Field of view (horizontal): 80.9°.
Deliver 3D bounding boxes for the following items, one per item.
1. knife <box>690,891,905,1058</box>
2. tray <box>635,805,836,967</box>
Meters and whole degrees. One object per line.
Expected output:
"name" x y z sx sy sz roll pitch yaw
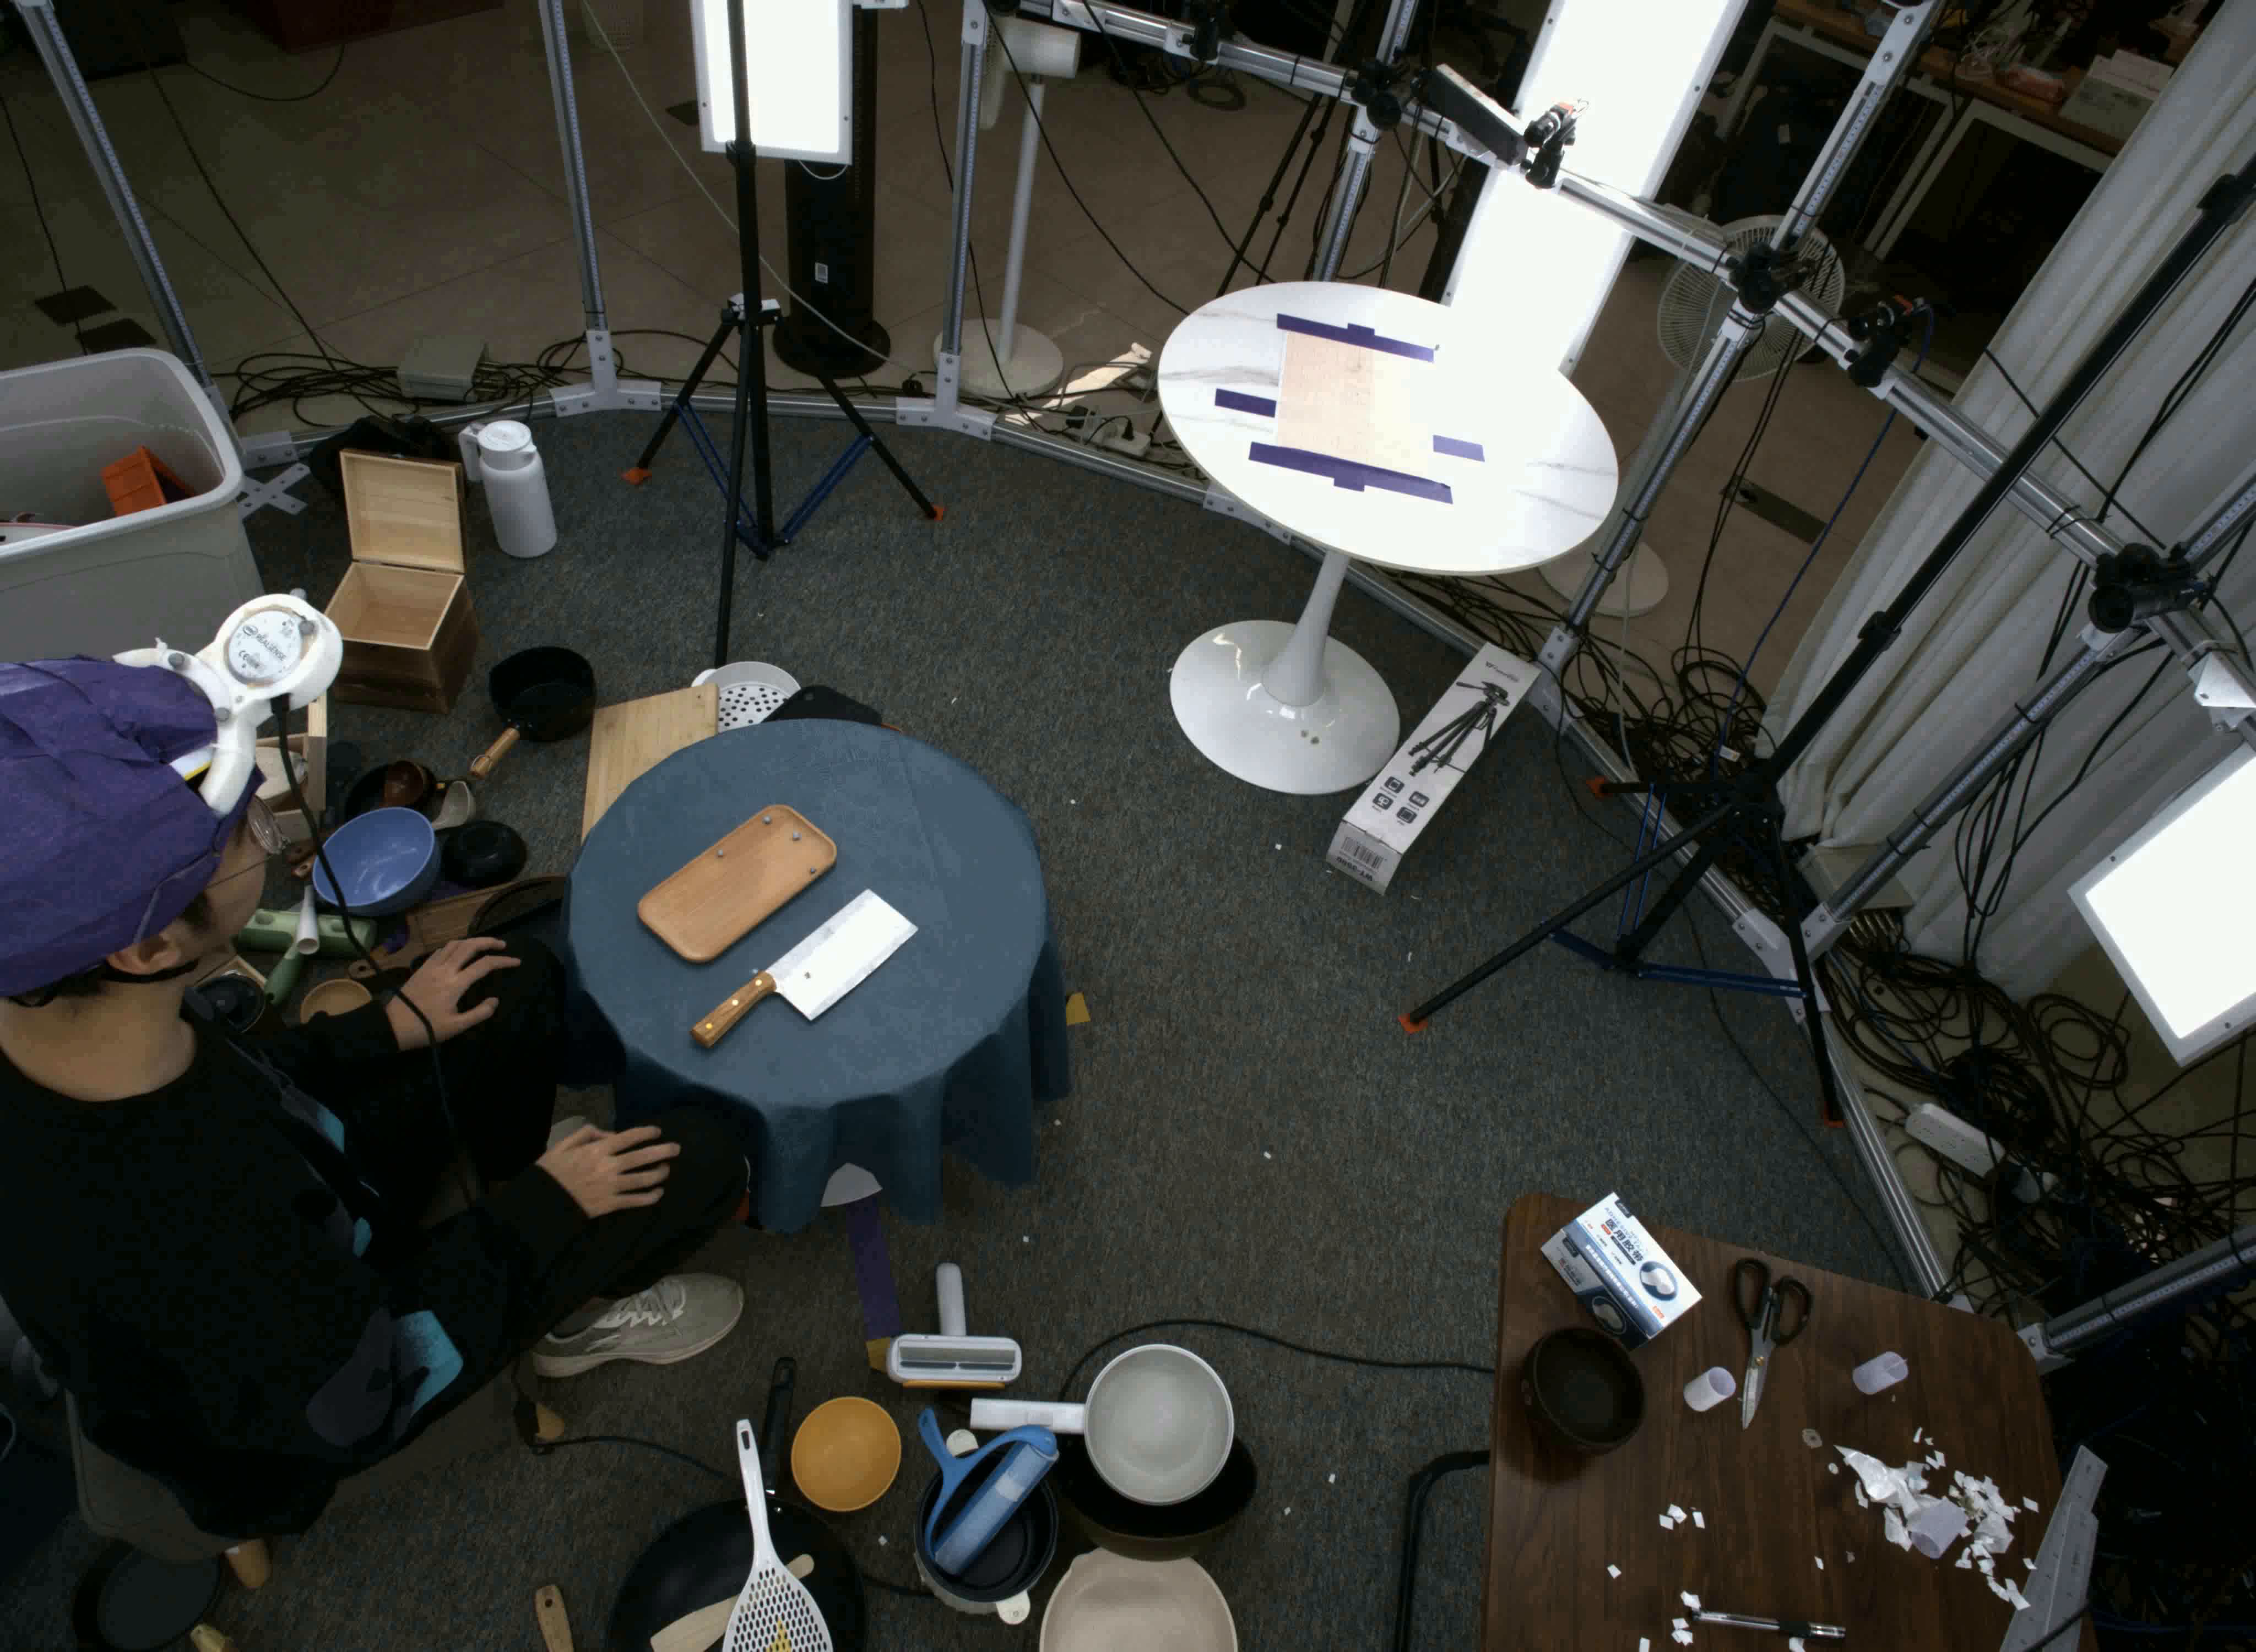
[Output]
"knife" -0.390 0.186 1.573 0.091 0.021 0.306 37 51 12
"tray" -0.493 0.071 1.632 0.127 0.023 0.251 37 54 16
